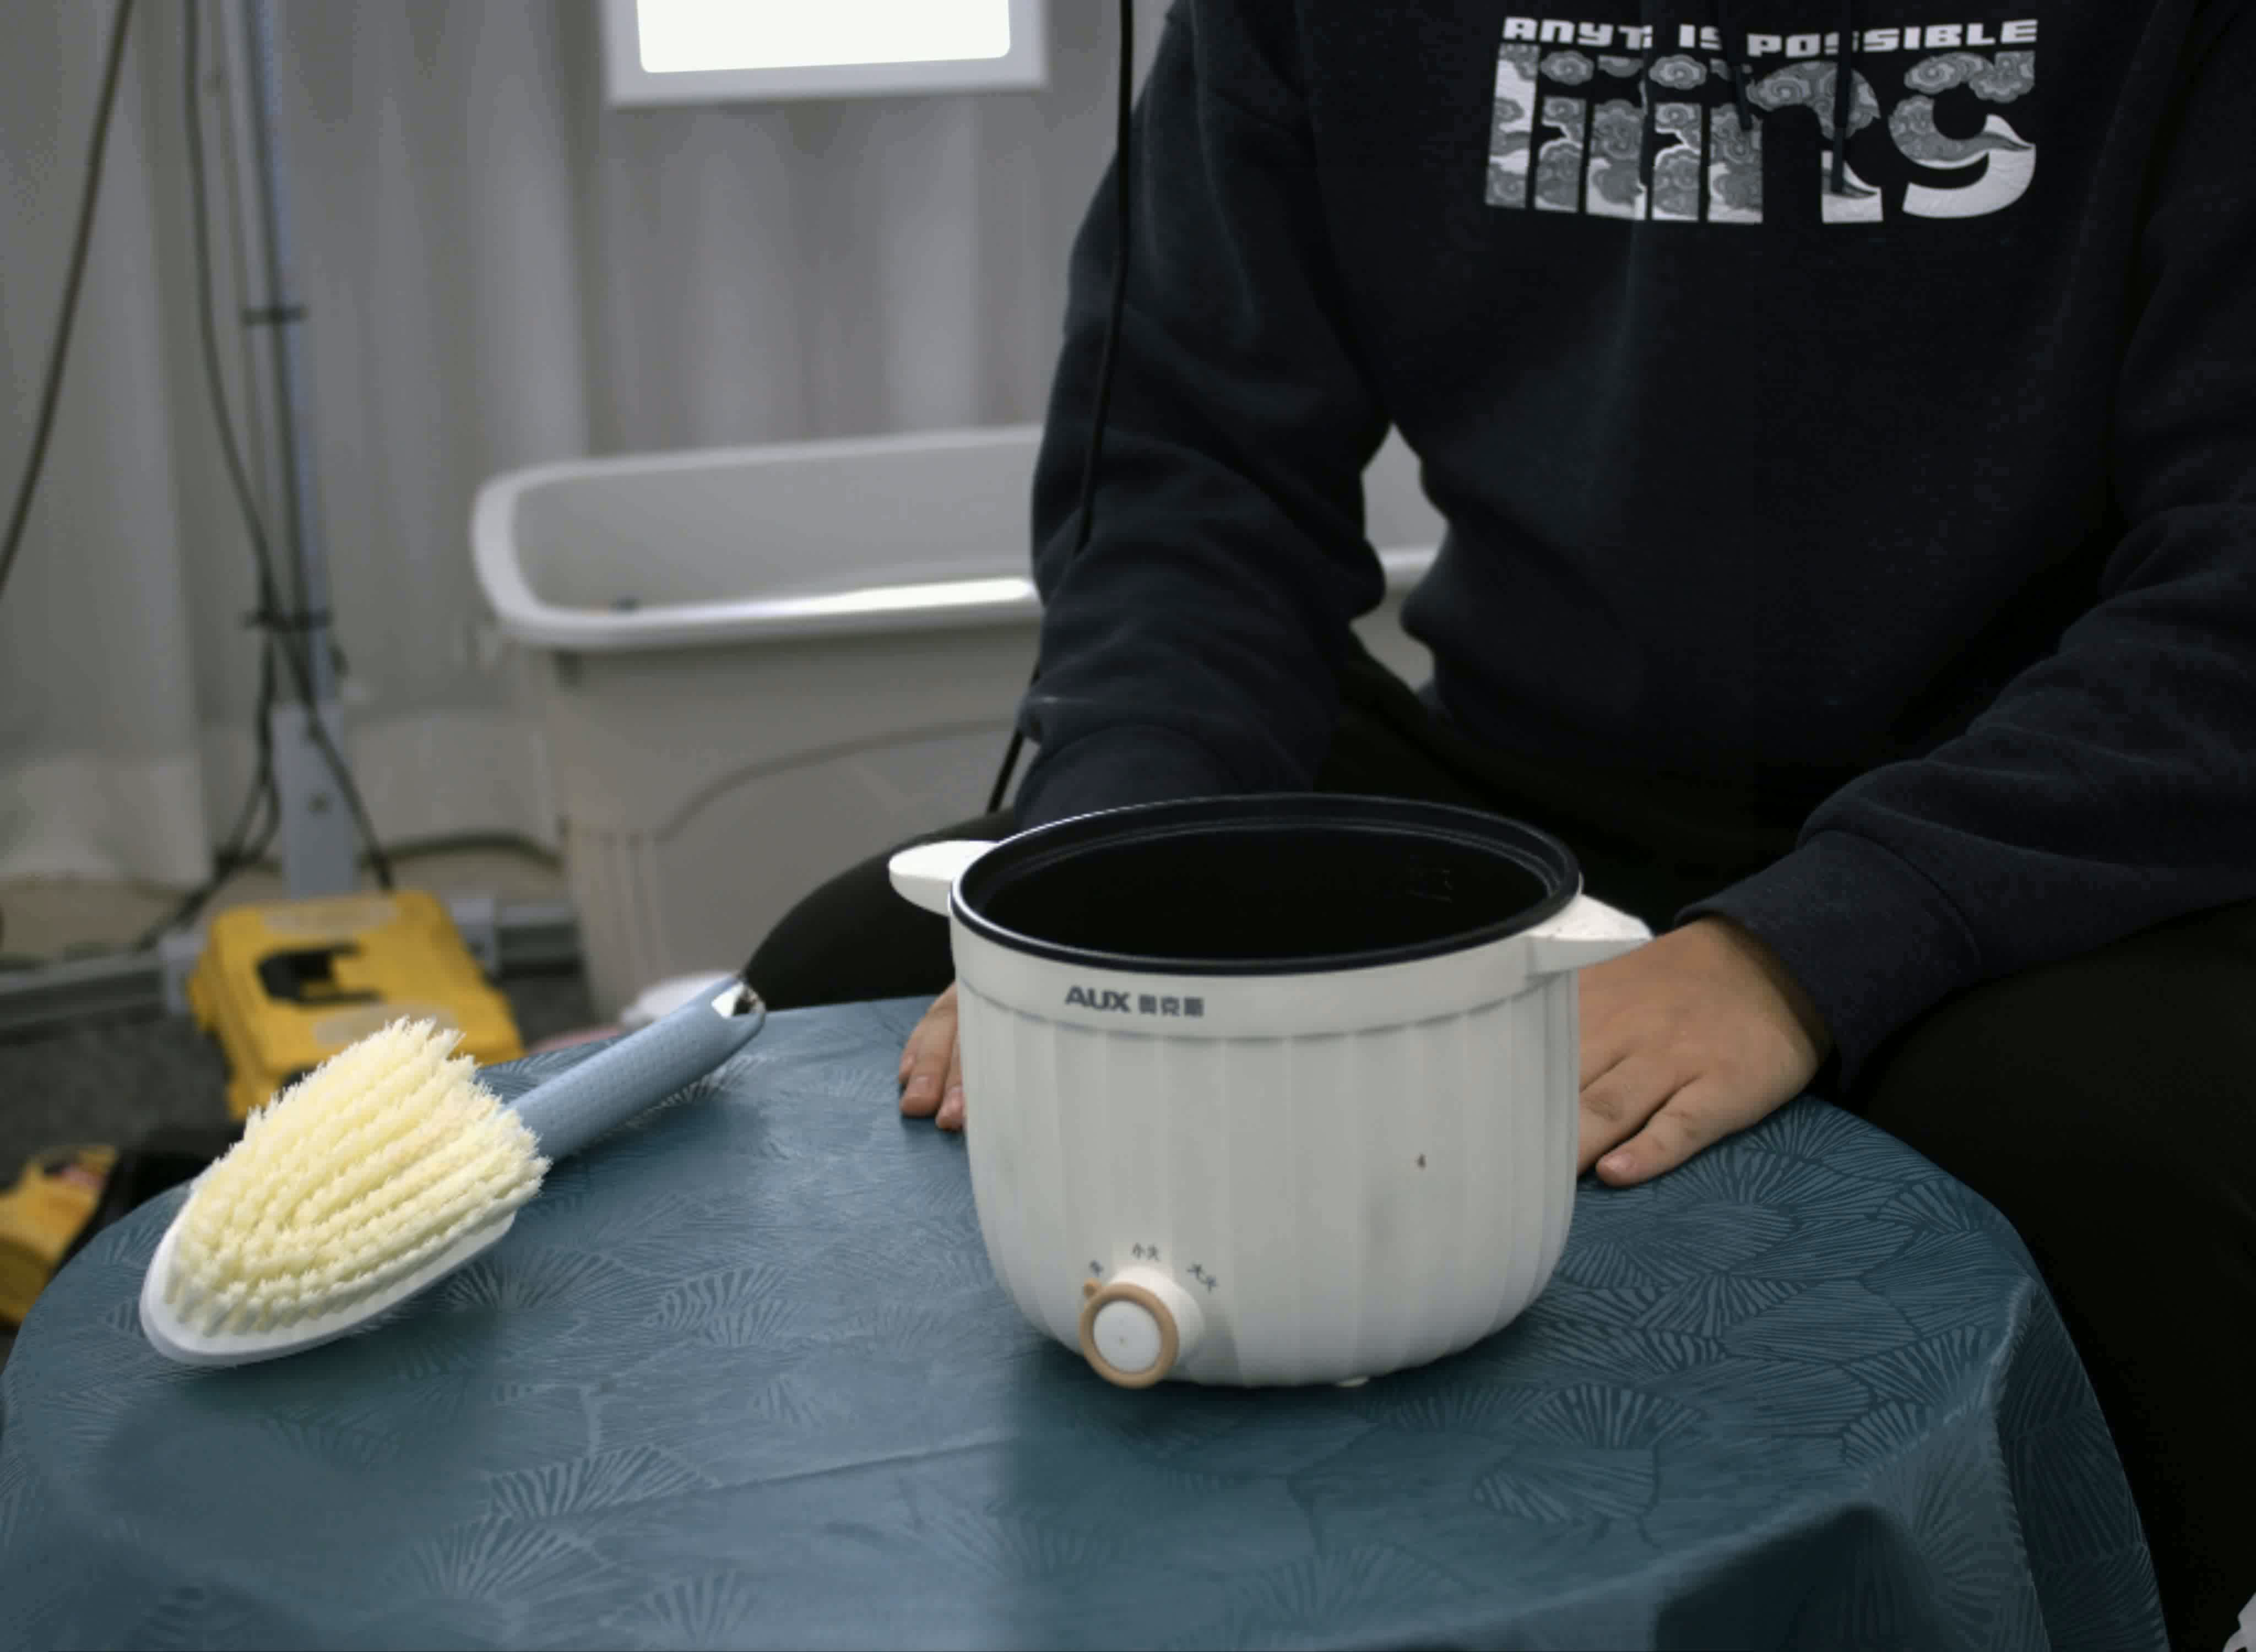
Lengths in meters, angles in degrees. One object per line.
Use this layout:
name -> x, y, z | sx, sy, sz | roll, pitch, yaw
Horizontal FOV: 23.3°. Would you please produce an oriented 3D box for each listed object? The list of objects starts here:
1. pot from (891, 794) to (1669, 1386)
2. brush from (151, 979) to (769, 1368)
pot -> 0.041, 0.079, 1.576 | 0.241, 0.142, 0.190 | 4, 12, 26
brush -> -0.189, 0.083, 1.709 | 0.084, 0.083, 0.326 | -2, 15, 30
